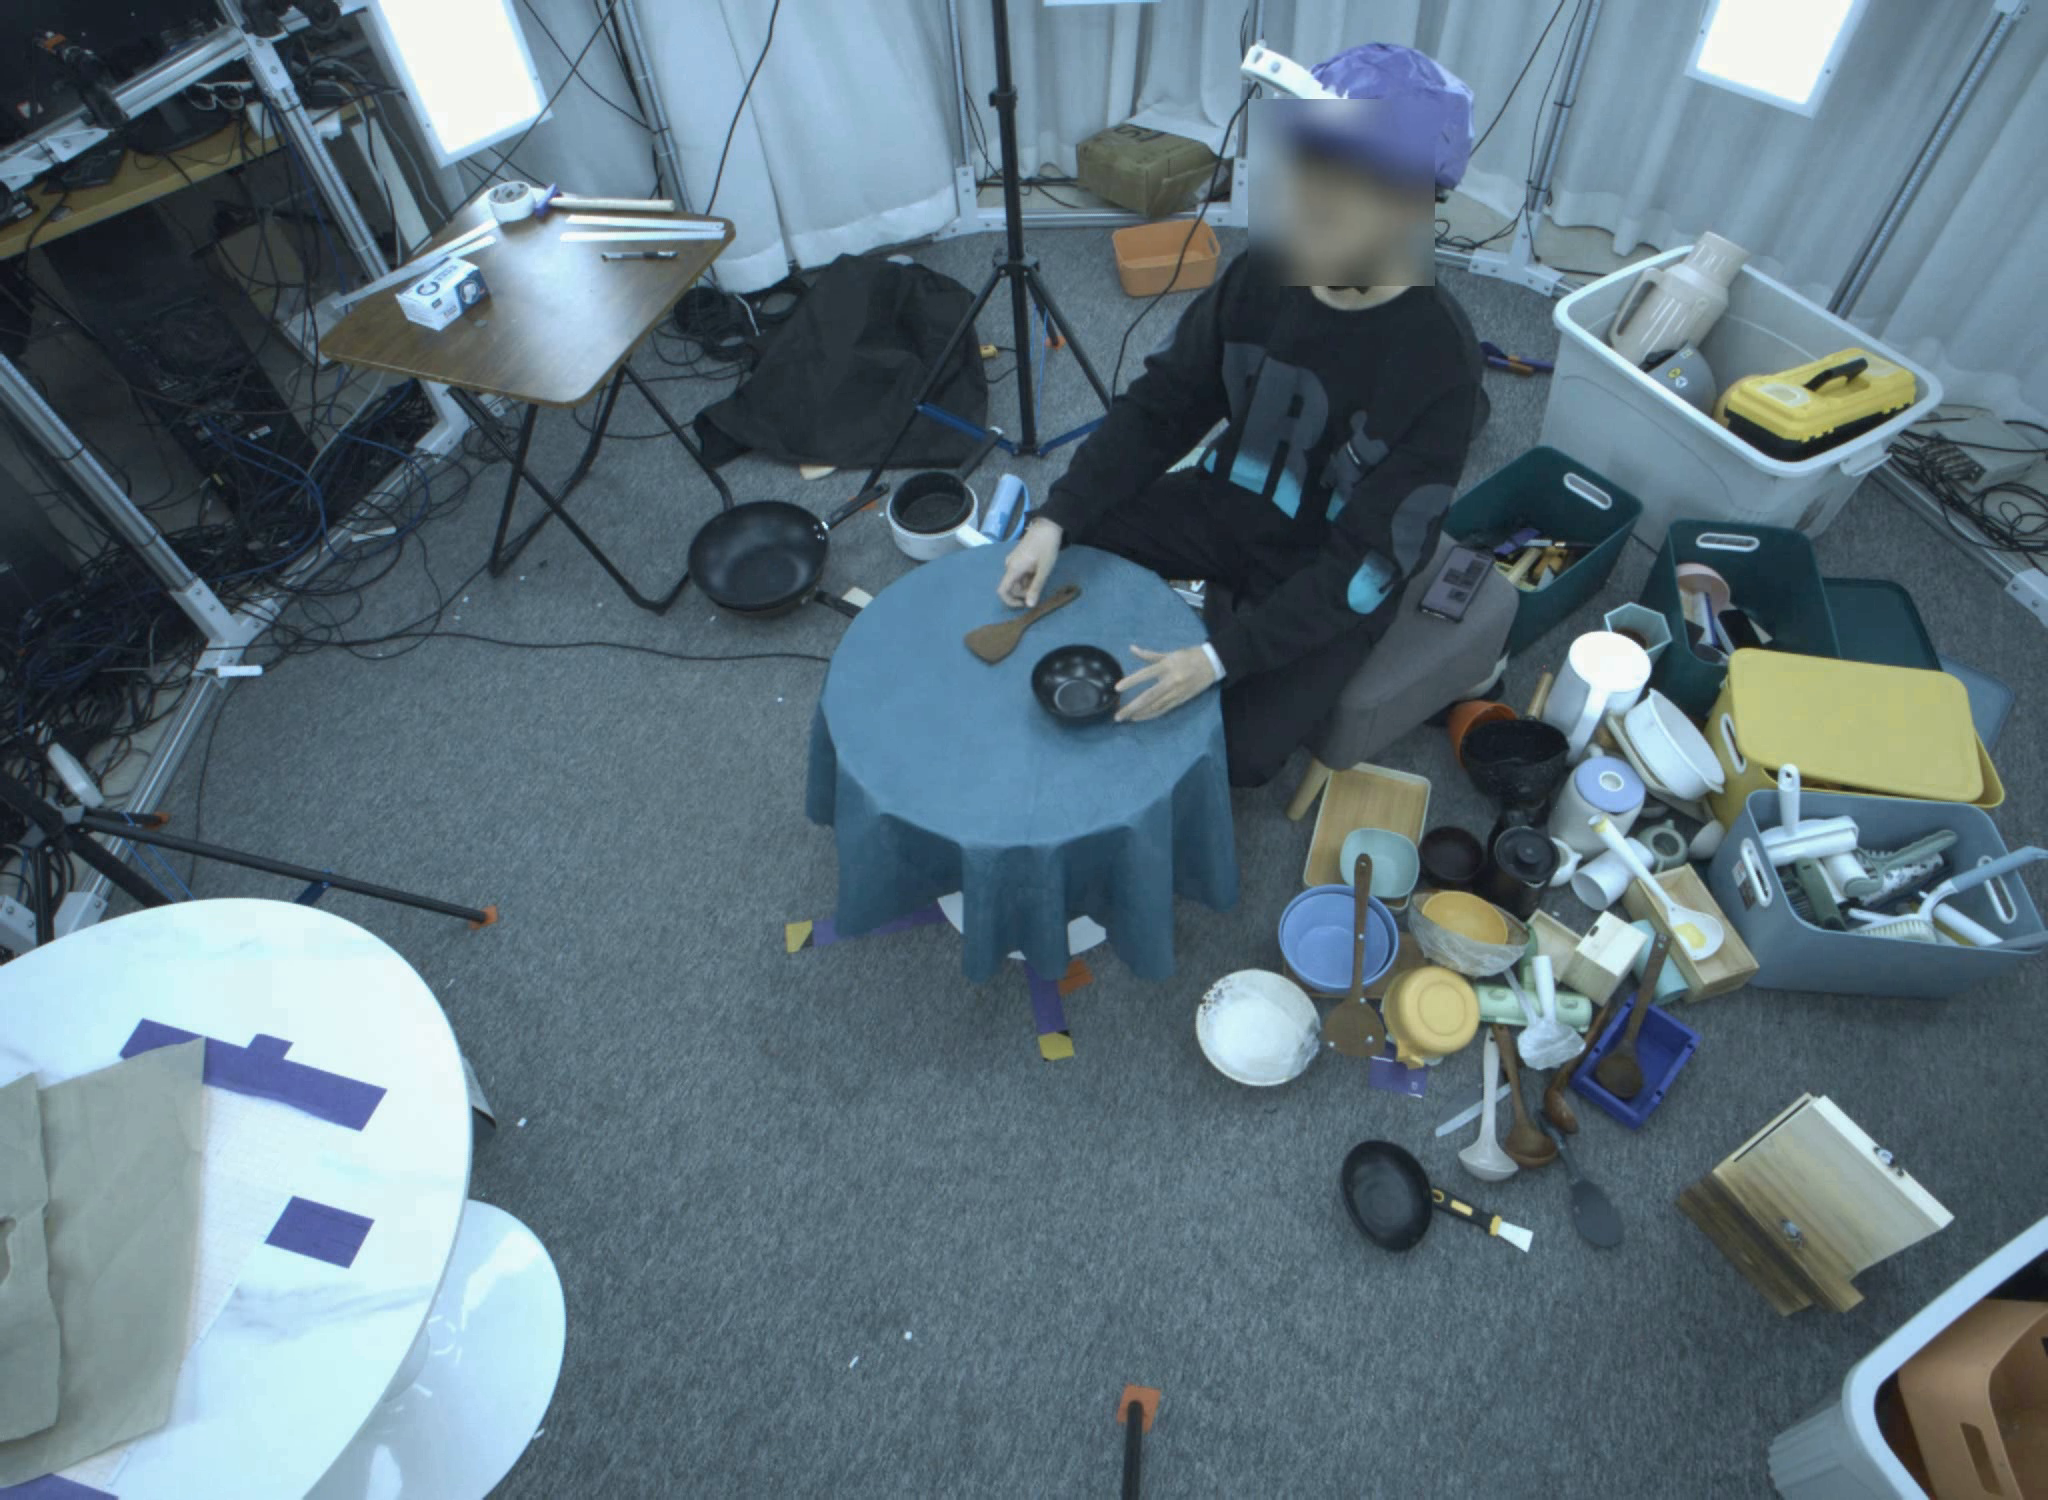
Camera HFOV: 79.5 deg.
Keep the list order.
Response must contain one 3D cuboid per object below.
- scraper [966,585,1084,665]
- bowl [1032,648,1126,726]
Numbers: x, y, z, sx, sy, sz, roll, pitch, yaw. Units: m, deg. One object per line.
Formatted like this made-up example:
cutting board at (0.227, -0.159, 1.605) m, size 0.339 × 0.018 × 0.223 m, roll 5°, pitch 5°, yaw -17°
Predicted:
scraper at (0.008, -0.203, 1.935) m, size 0.213 × 0.011 × 0.074 m, roll -35°, pitch 62°, yaw -21°
bowl at (0.082, -0.084, 1.825) m, size 0.140 × 0.050 × 0.138 m, roll -1°, pitch 52°, yaw 3°
